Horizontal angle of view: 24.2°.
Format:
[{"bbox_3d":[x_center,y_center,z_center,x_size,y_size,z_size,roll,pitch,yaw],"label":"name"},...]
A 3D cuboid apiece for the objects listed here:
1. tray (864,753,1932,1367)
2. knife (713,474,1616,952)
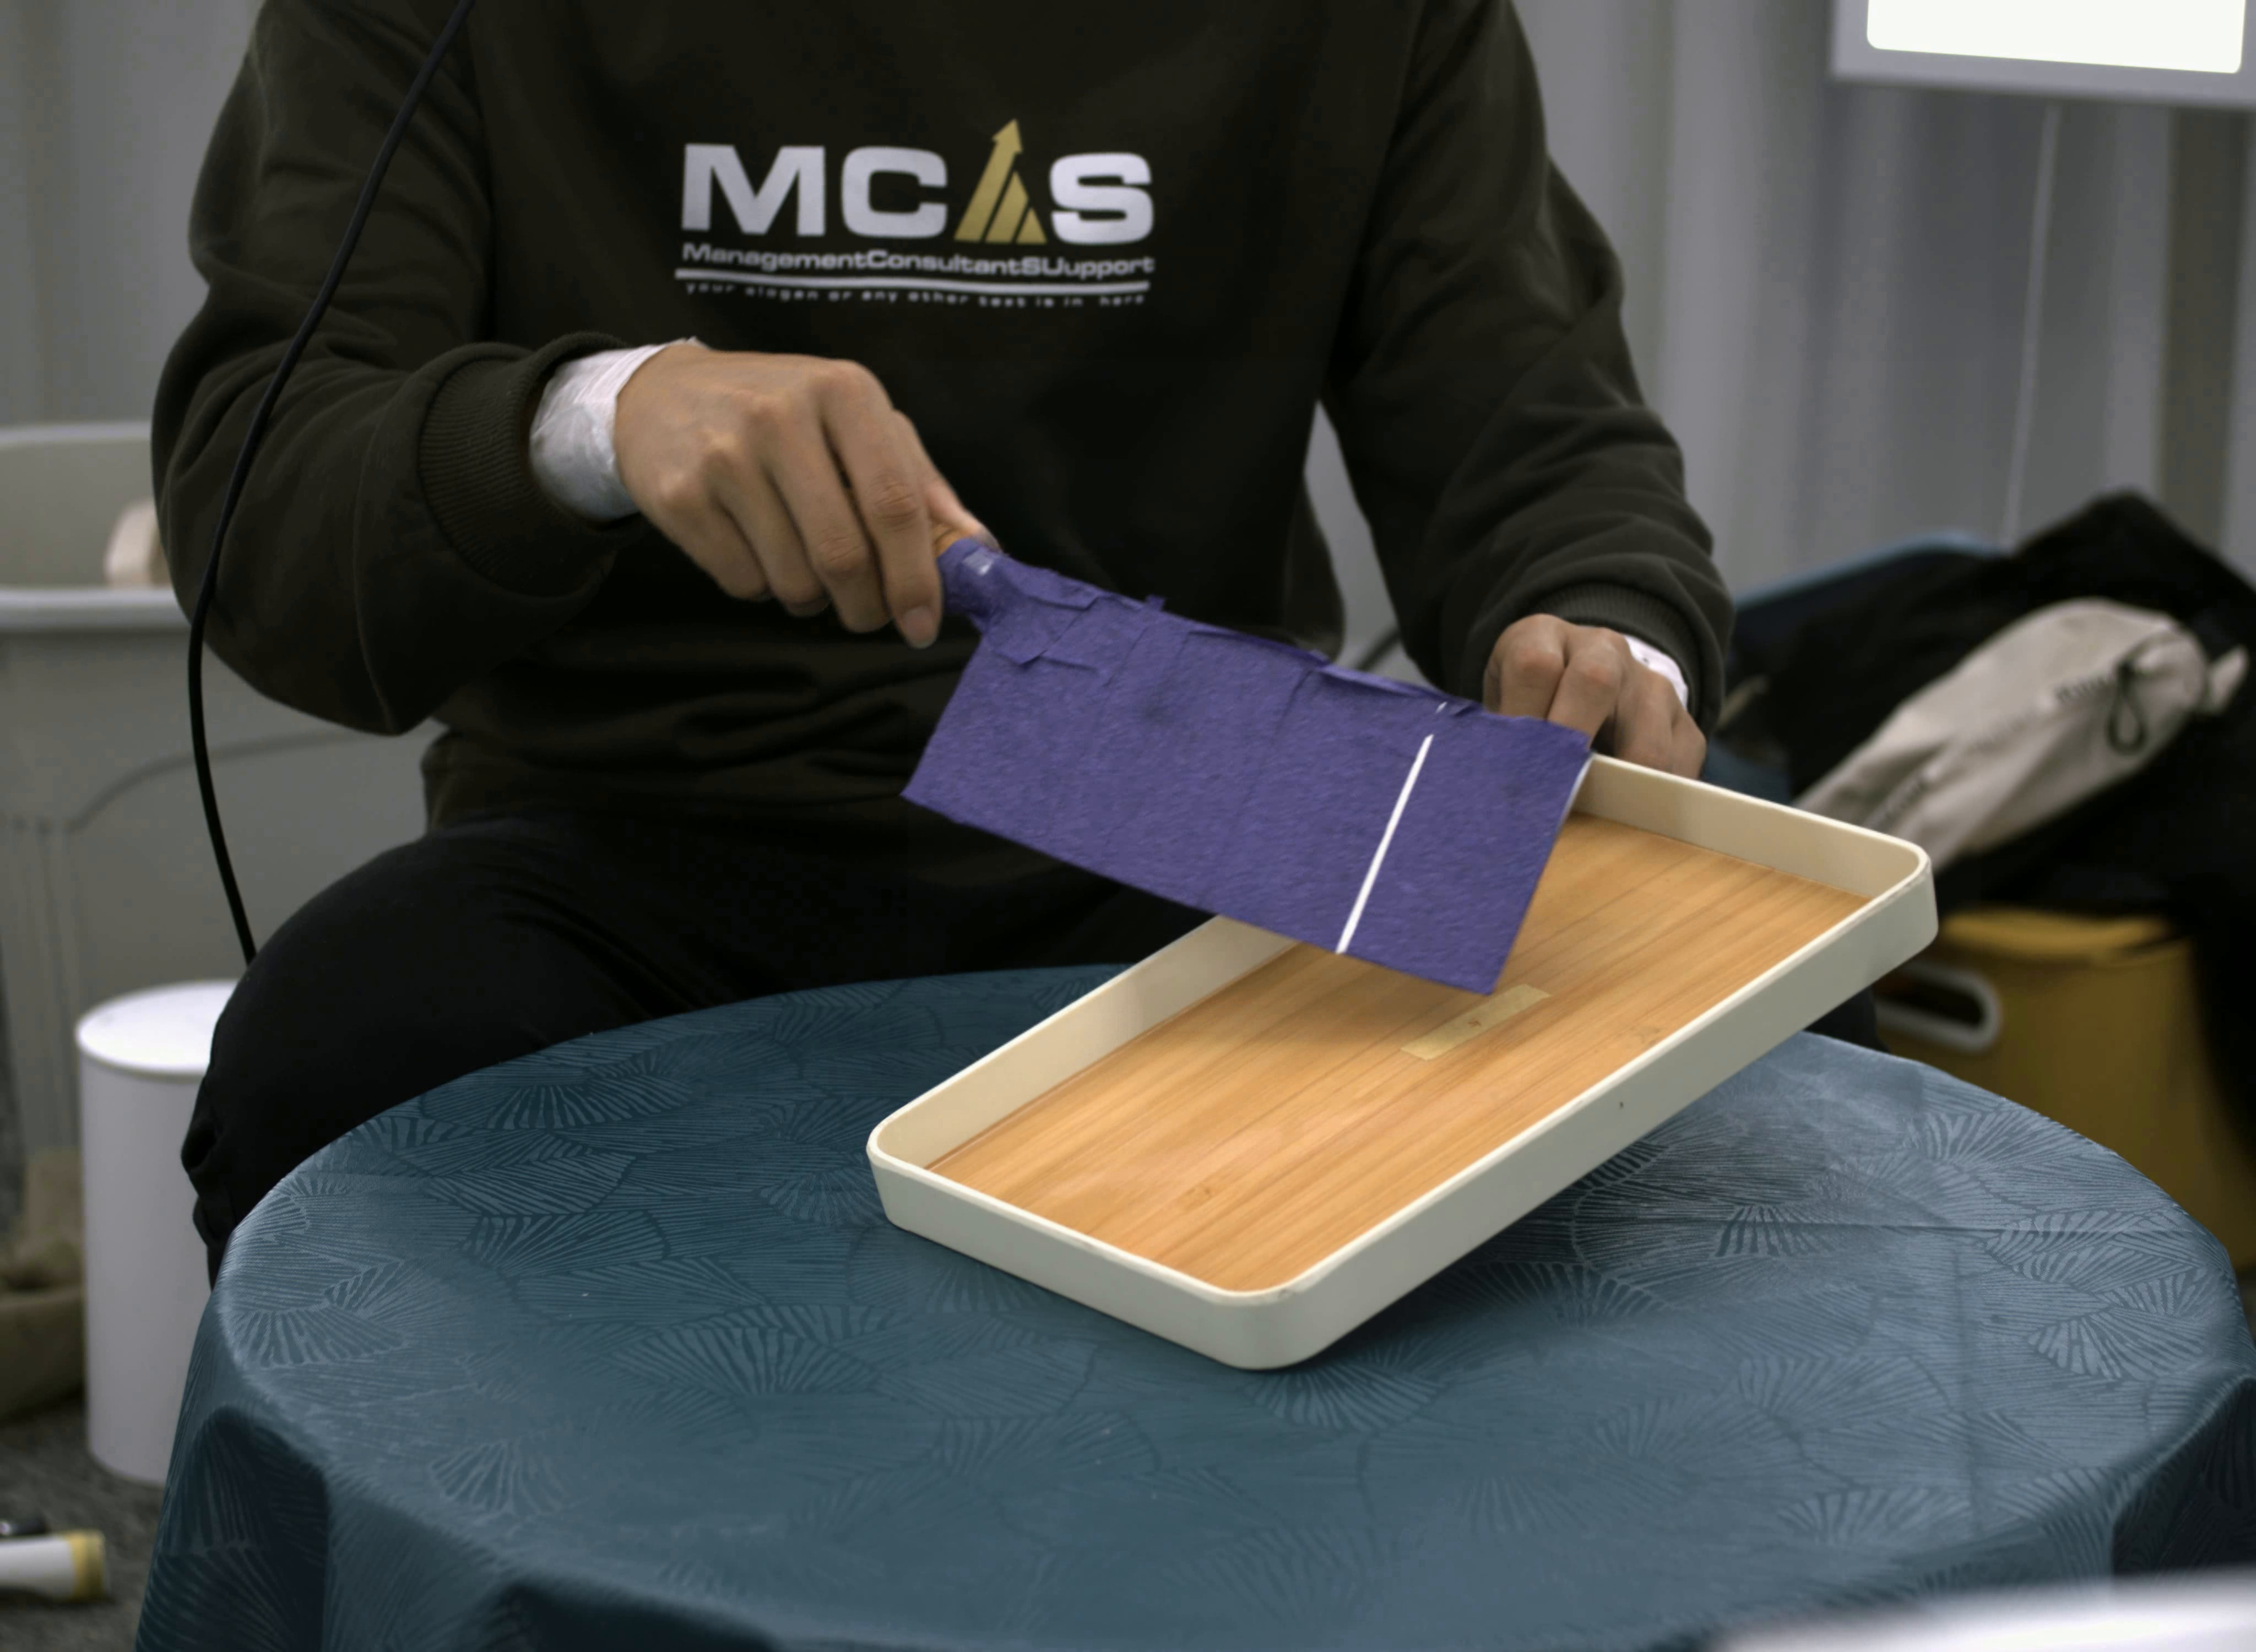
[{"bbox_3d":[0.085,0.063,1.610,0.301,0.028,0.189,-30,30,-32],"label":"tray"},{"bbox_3d":[-0.005,-0.036,1.668,0.312,0.104,0.032,17,-19,22],"label":"knife"}]
